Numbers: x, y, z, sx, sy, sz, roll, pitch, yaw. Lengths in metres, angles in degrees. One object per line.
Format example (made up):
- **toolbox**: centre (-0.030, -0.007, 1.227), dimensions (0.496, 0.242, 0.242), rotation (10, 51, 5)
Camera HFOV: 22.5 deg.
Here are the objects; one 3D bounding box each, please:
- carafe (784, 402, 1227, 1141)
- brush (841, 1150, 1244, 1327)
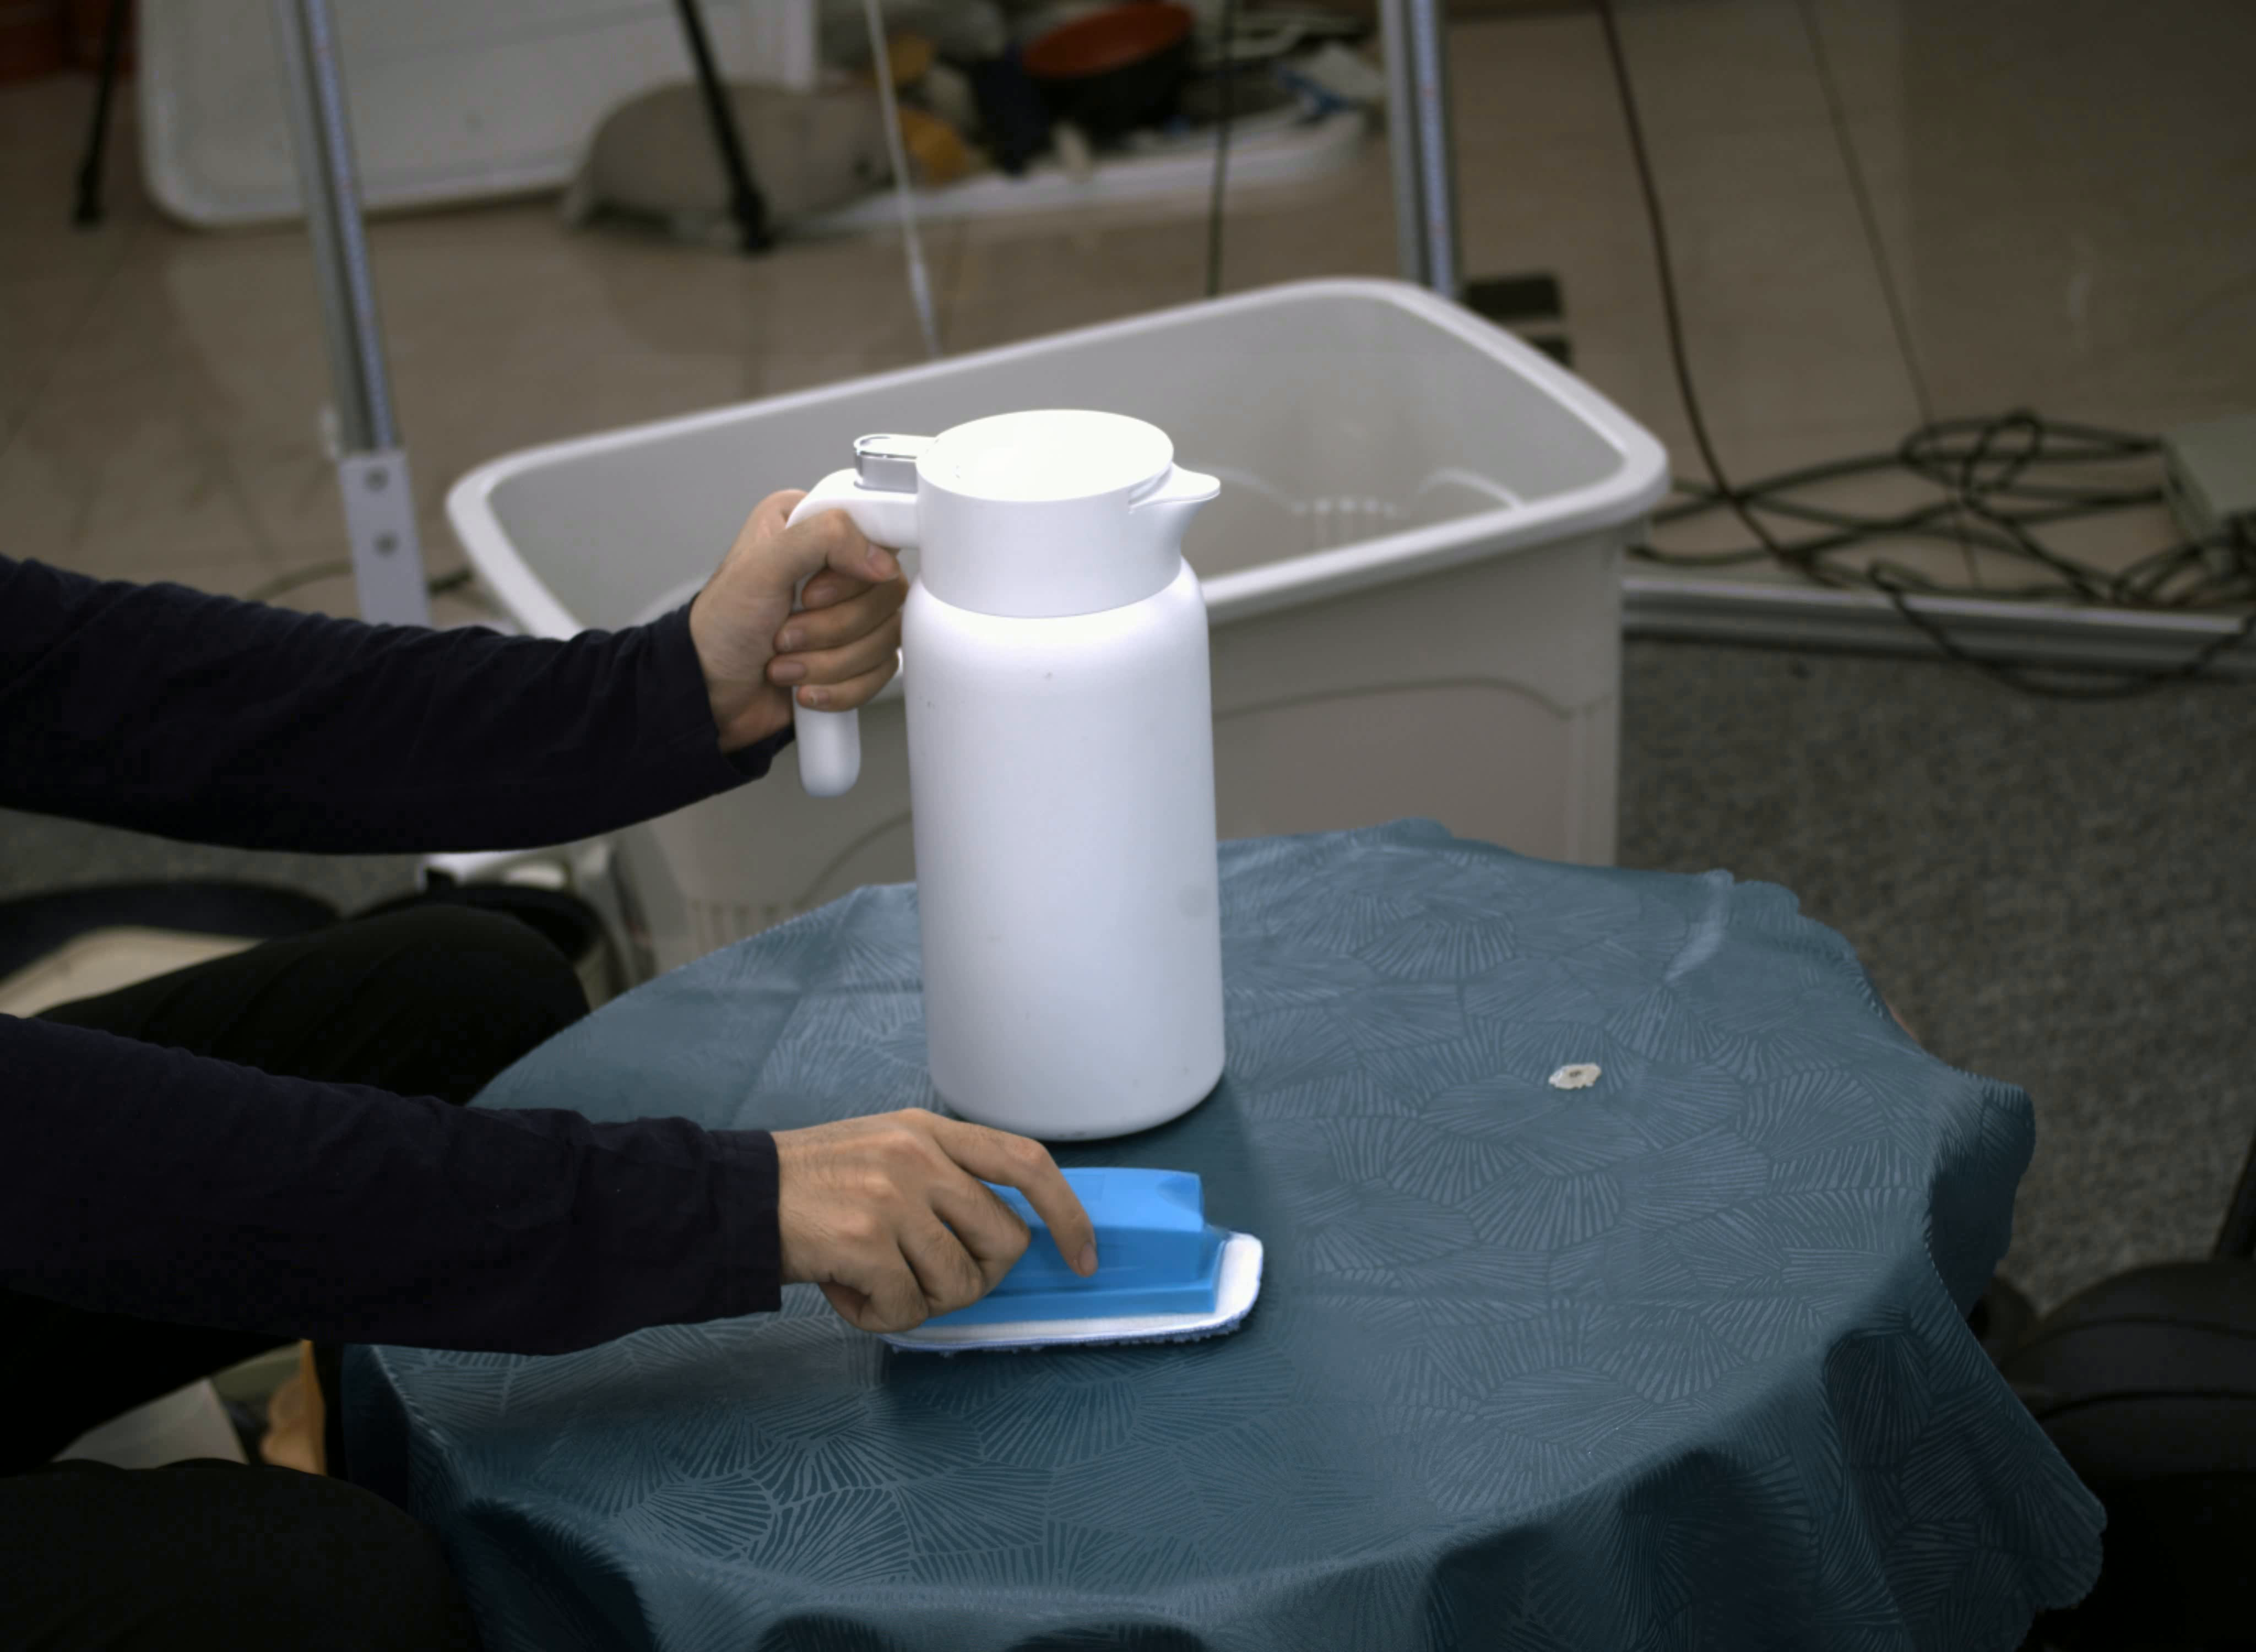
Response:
- **carafe**: centre (-0.042, -0.021, 2.172), dimensions (0.172, 0.273, 0.122), rotation (4, 28, 15)
- **brush**: centre (-0.031, 0.148, 2.060), dimensions (0.143, 0.057, 0.083), rotation (0, 22, 7)
